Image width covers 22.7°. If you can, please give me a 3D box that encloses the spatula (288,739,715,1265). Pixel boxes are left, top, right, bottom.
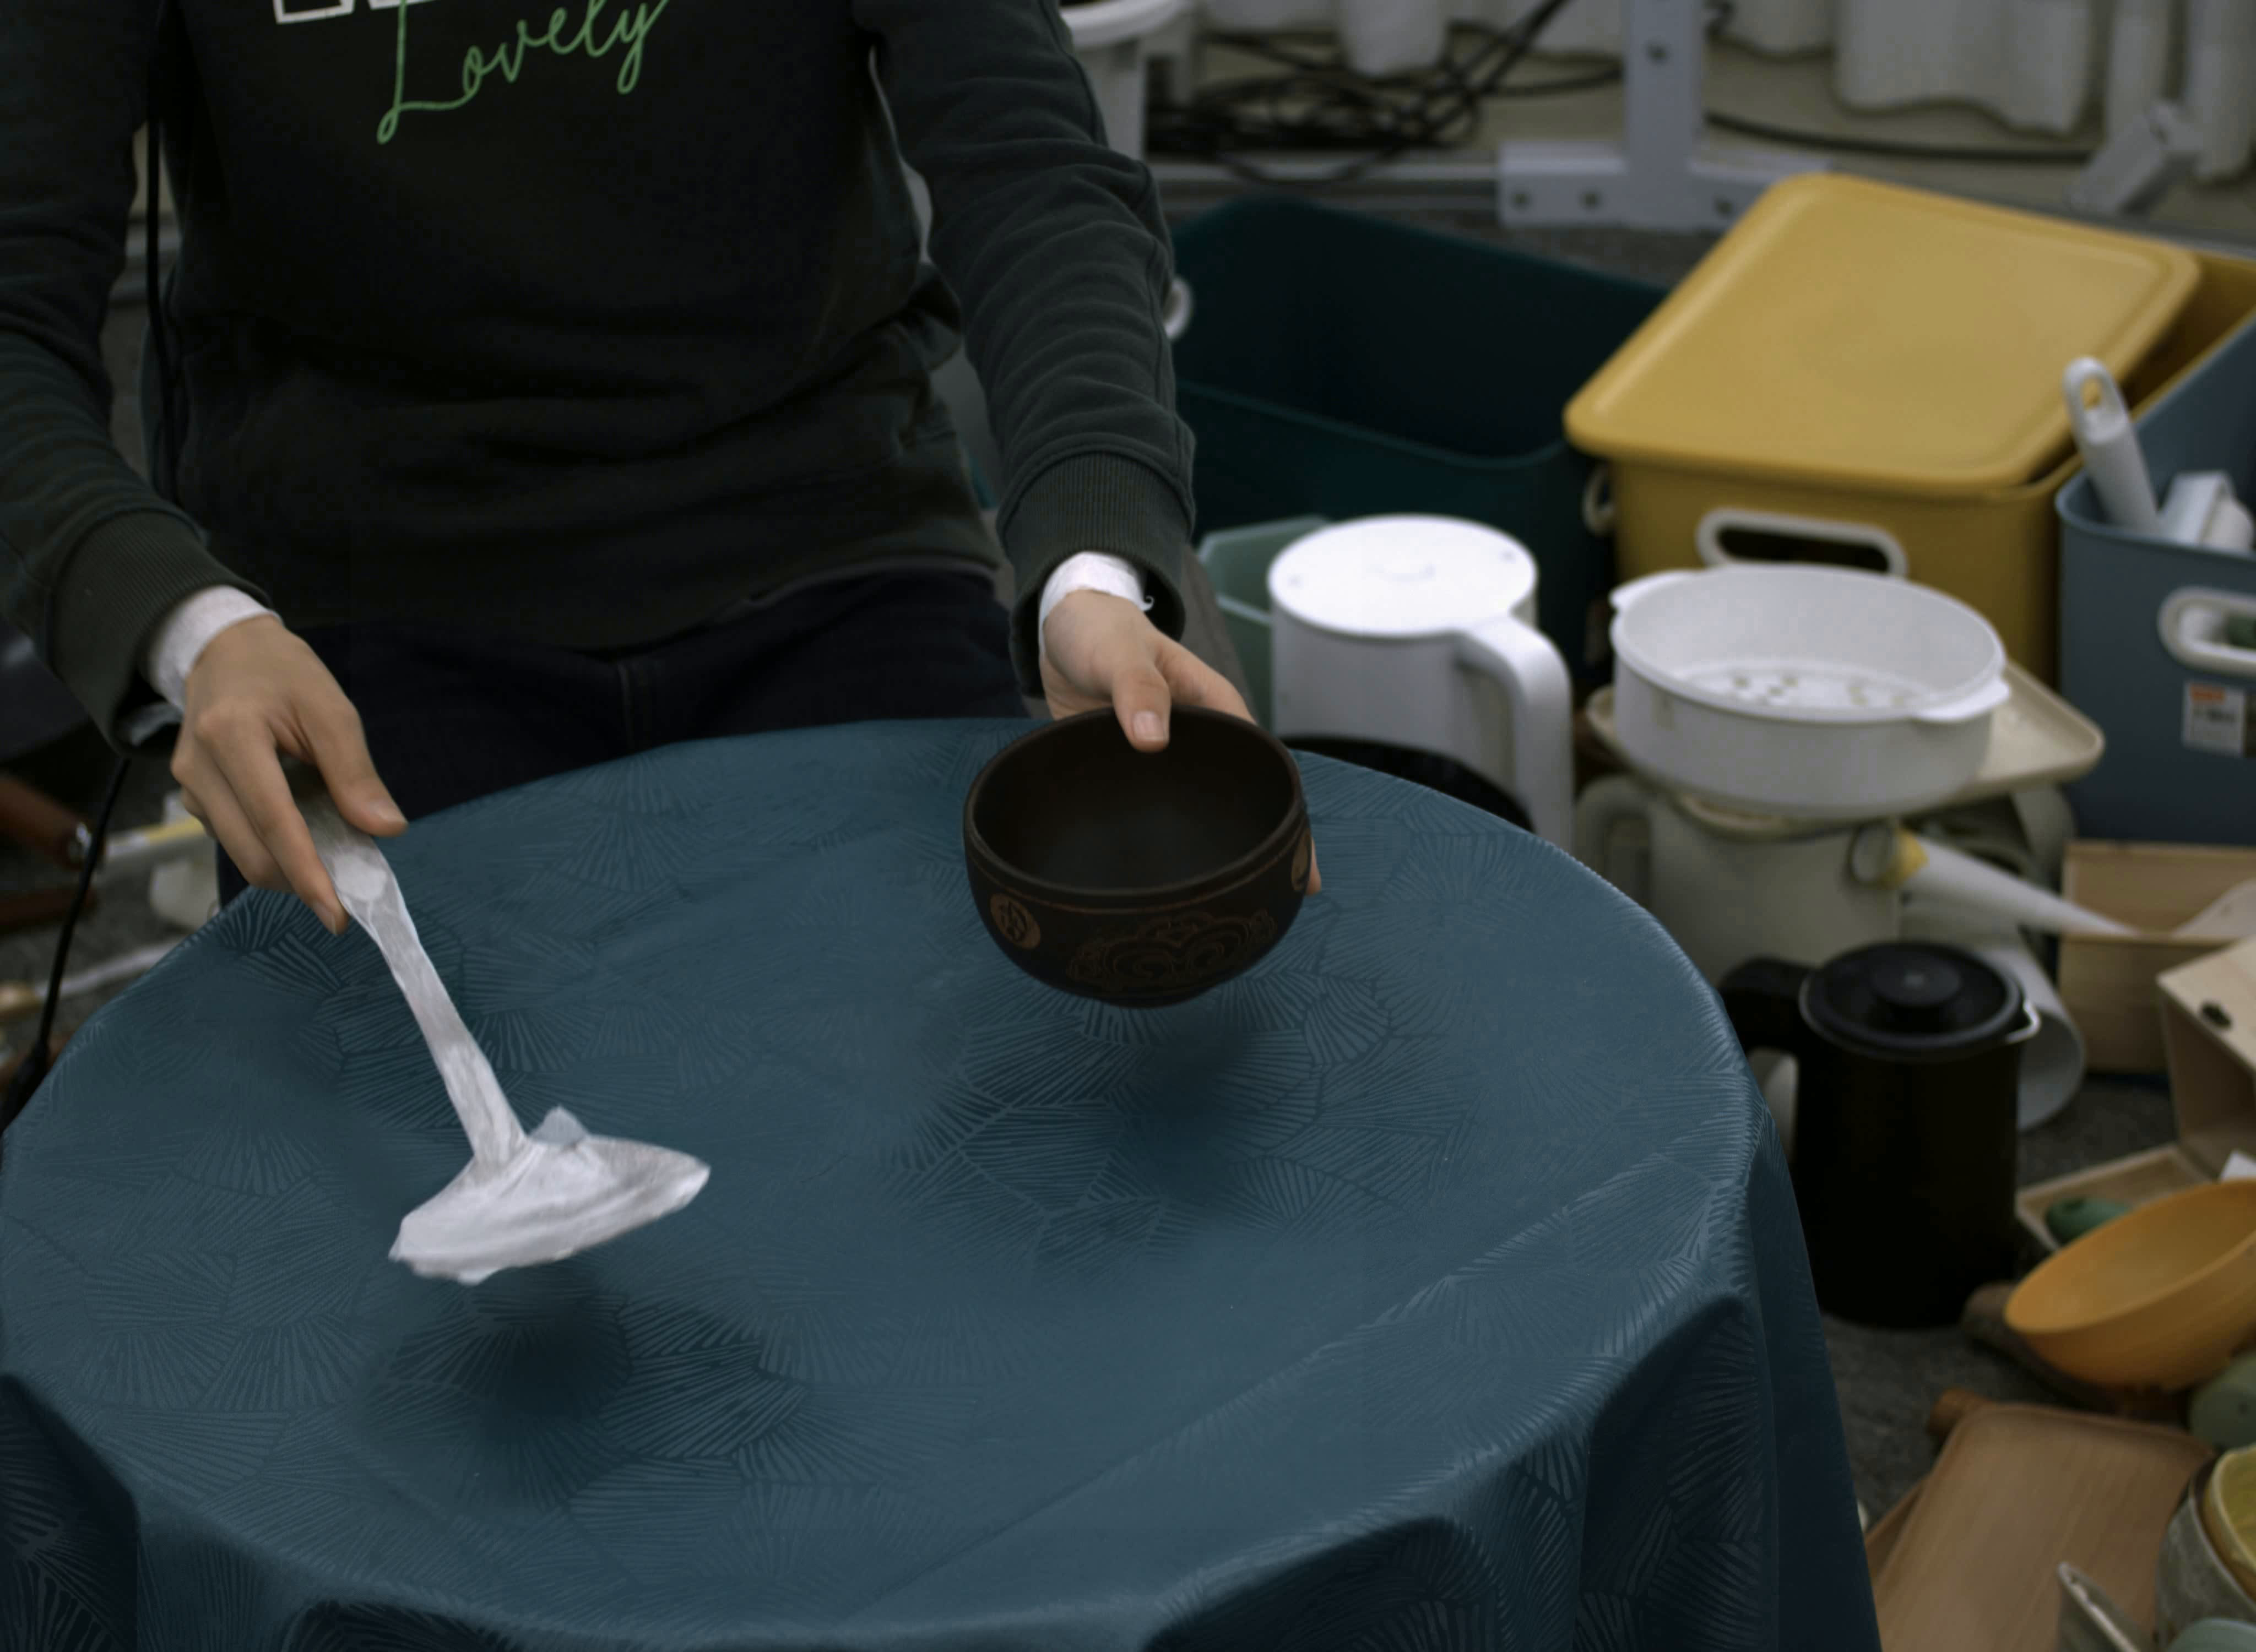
[{"bbox_3d":[-0.232,0.048,1.872,0.099,0.044,0.368,-19,37,-14],"label":"spatula"}]

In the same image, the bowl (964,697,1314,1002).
[{"bbox_3d":[0.005,0.015,1.898,0.117,0.069,0.120,-3,32,3],"label":"bowl"}]
